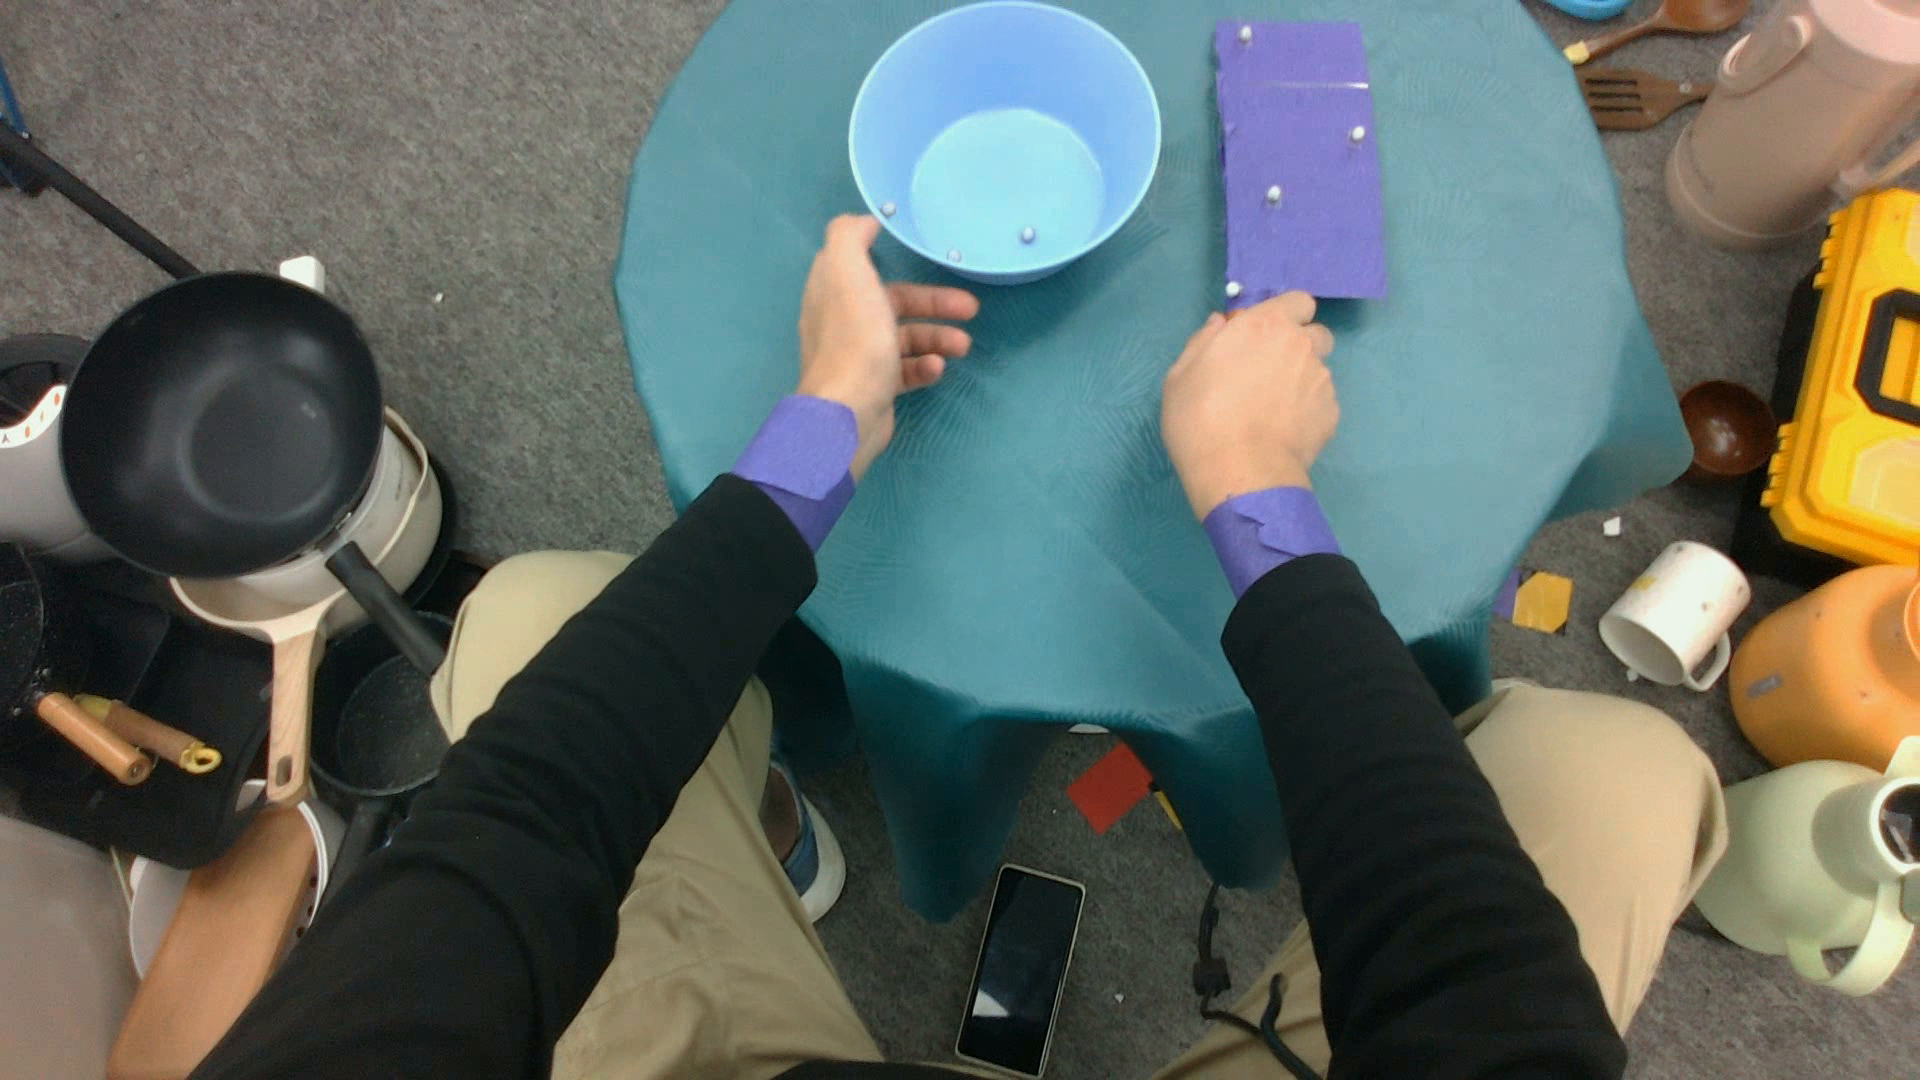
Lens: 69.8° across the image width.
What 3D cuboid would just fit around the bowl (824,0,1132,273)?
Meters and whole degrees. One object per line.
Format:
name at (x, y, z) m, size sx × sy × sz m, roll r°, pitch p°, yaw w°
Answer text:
bowl at (0.011, -0.225, 0.810) m, size 0.176 × 0.070 × 0.176 m, roll -1°, pitch 71°, yaw 3°

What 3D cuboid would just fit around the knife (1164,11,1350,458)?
knife at (0.177, -0.192, 0.803) m, size 0.104 × 0.032 × 0.316 m, roll 0°, pitch 65°, yaw 4°
